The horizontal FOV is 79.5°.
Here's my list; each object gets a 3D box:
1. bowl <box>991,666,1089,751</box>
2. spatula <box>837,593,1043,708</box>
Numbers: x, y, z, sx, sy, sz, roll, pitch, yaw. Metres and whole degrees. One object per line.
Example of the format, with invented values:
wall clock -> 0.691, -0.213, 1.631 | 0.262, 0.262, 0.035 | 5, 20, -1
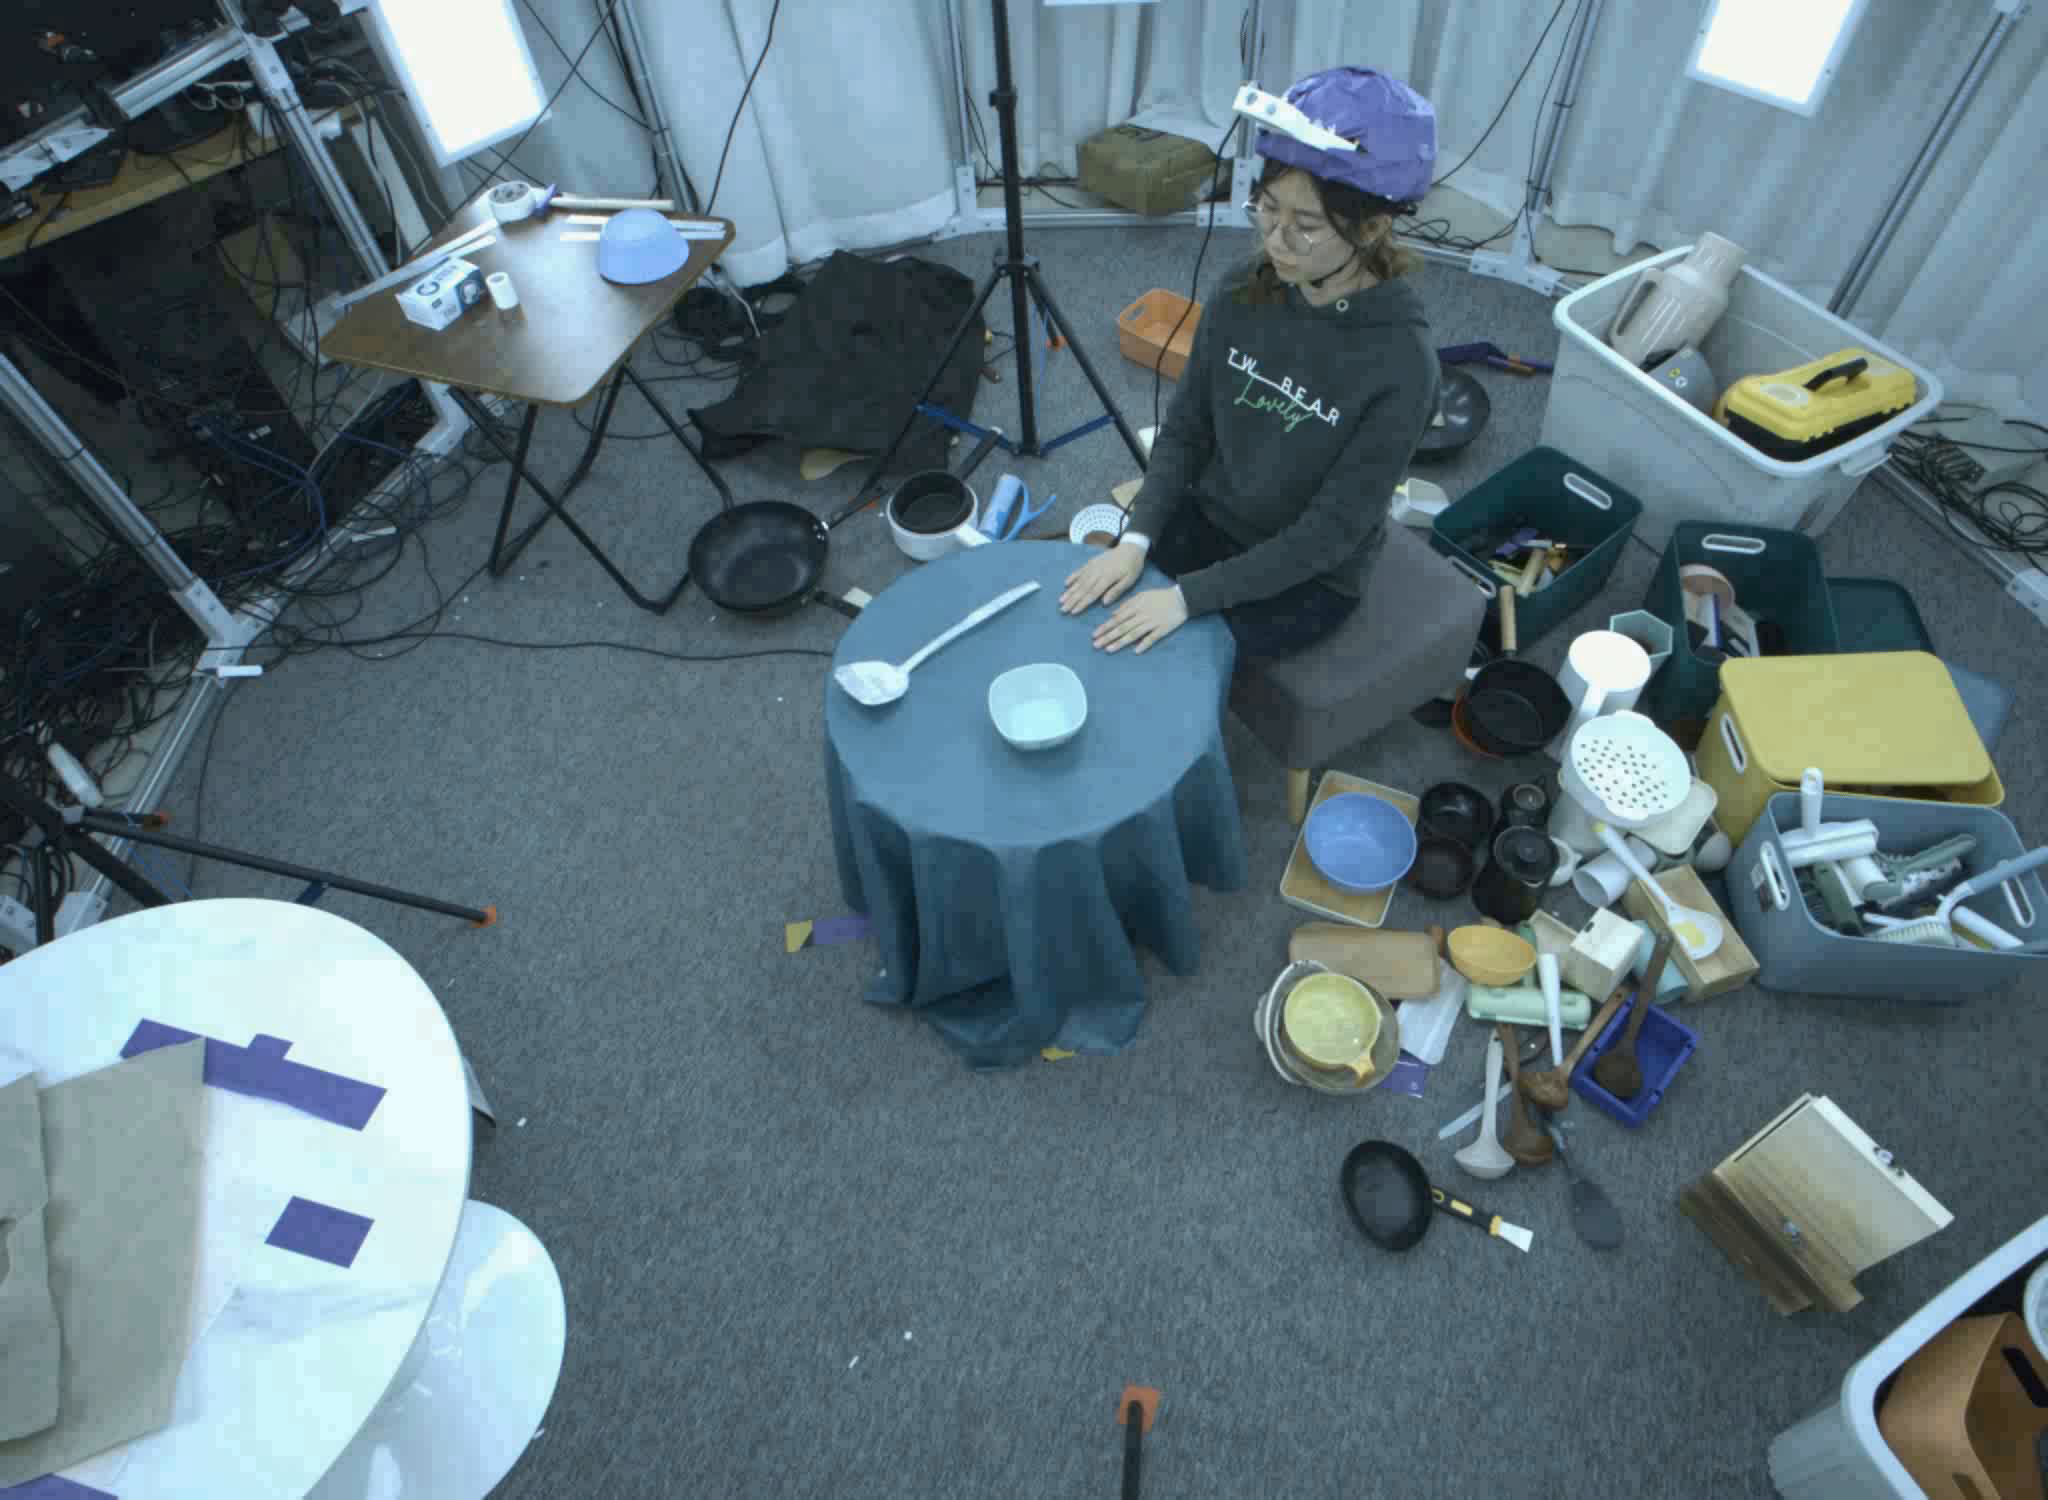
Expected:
bowl -> 0.025, -0.050, 1.799 | 0.151, 0.059, 0.150 | -1, 57, 3
spatula -> -0.120, -0.169, 1.896 | 0.368, 0.045, 0.097 | -34, 59, -20
